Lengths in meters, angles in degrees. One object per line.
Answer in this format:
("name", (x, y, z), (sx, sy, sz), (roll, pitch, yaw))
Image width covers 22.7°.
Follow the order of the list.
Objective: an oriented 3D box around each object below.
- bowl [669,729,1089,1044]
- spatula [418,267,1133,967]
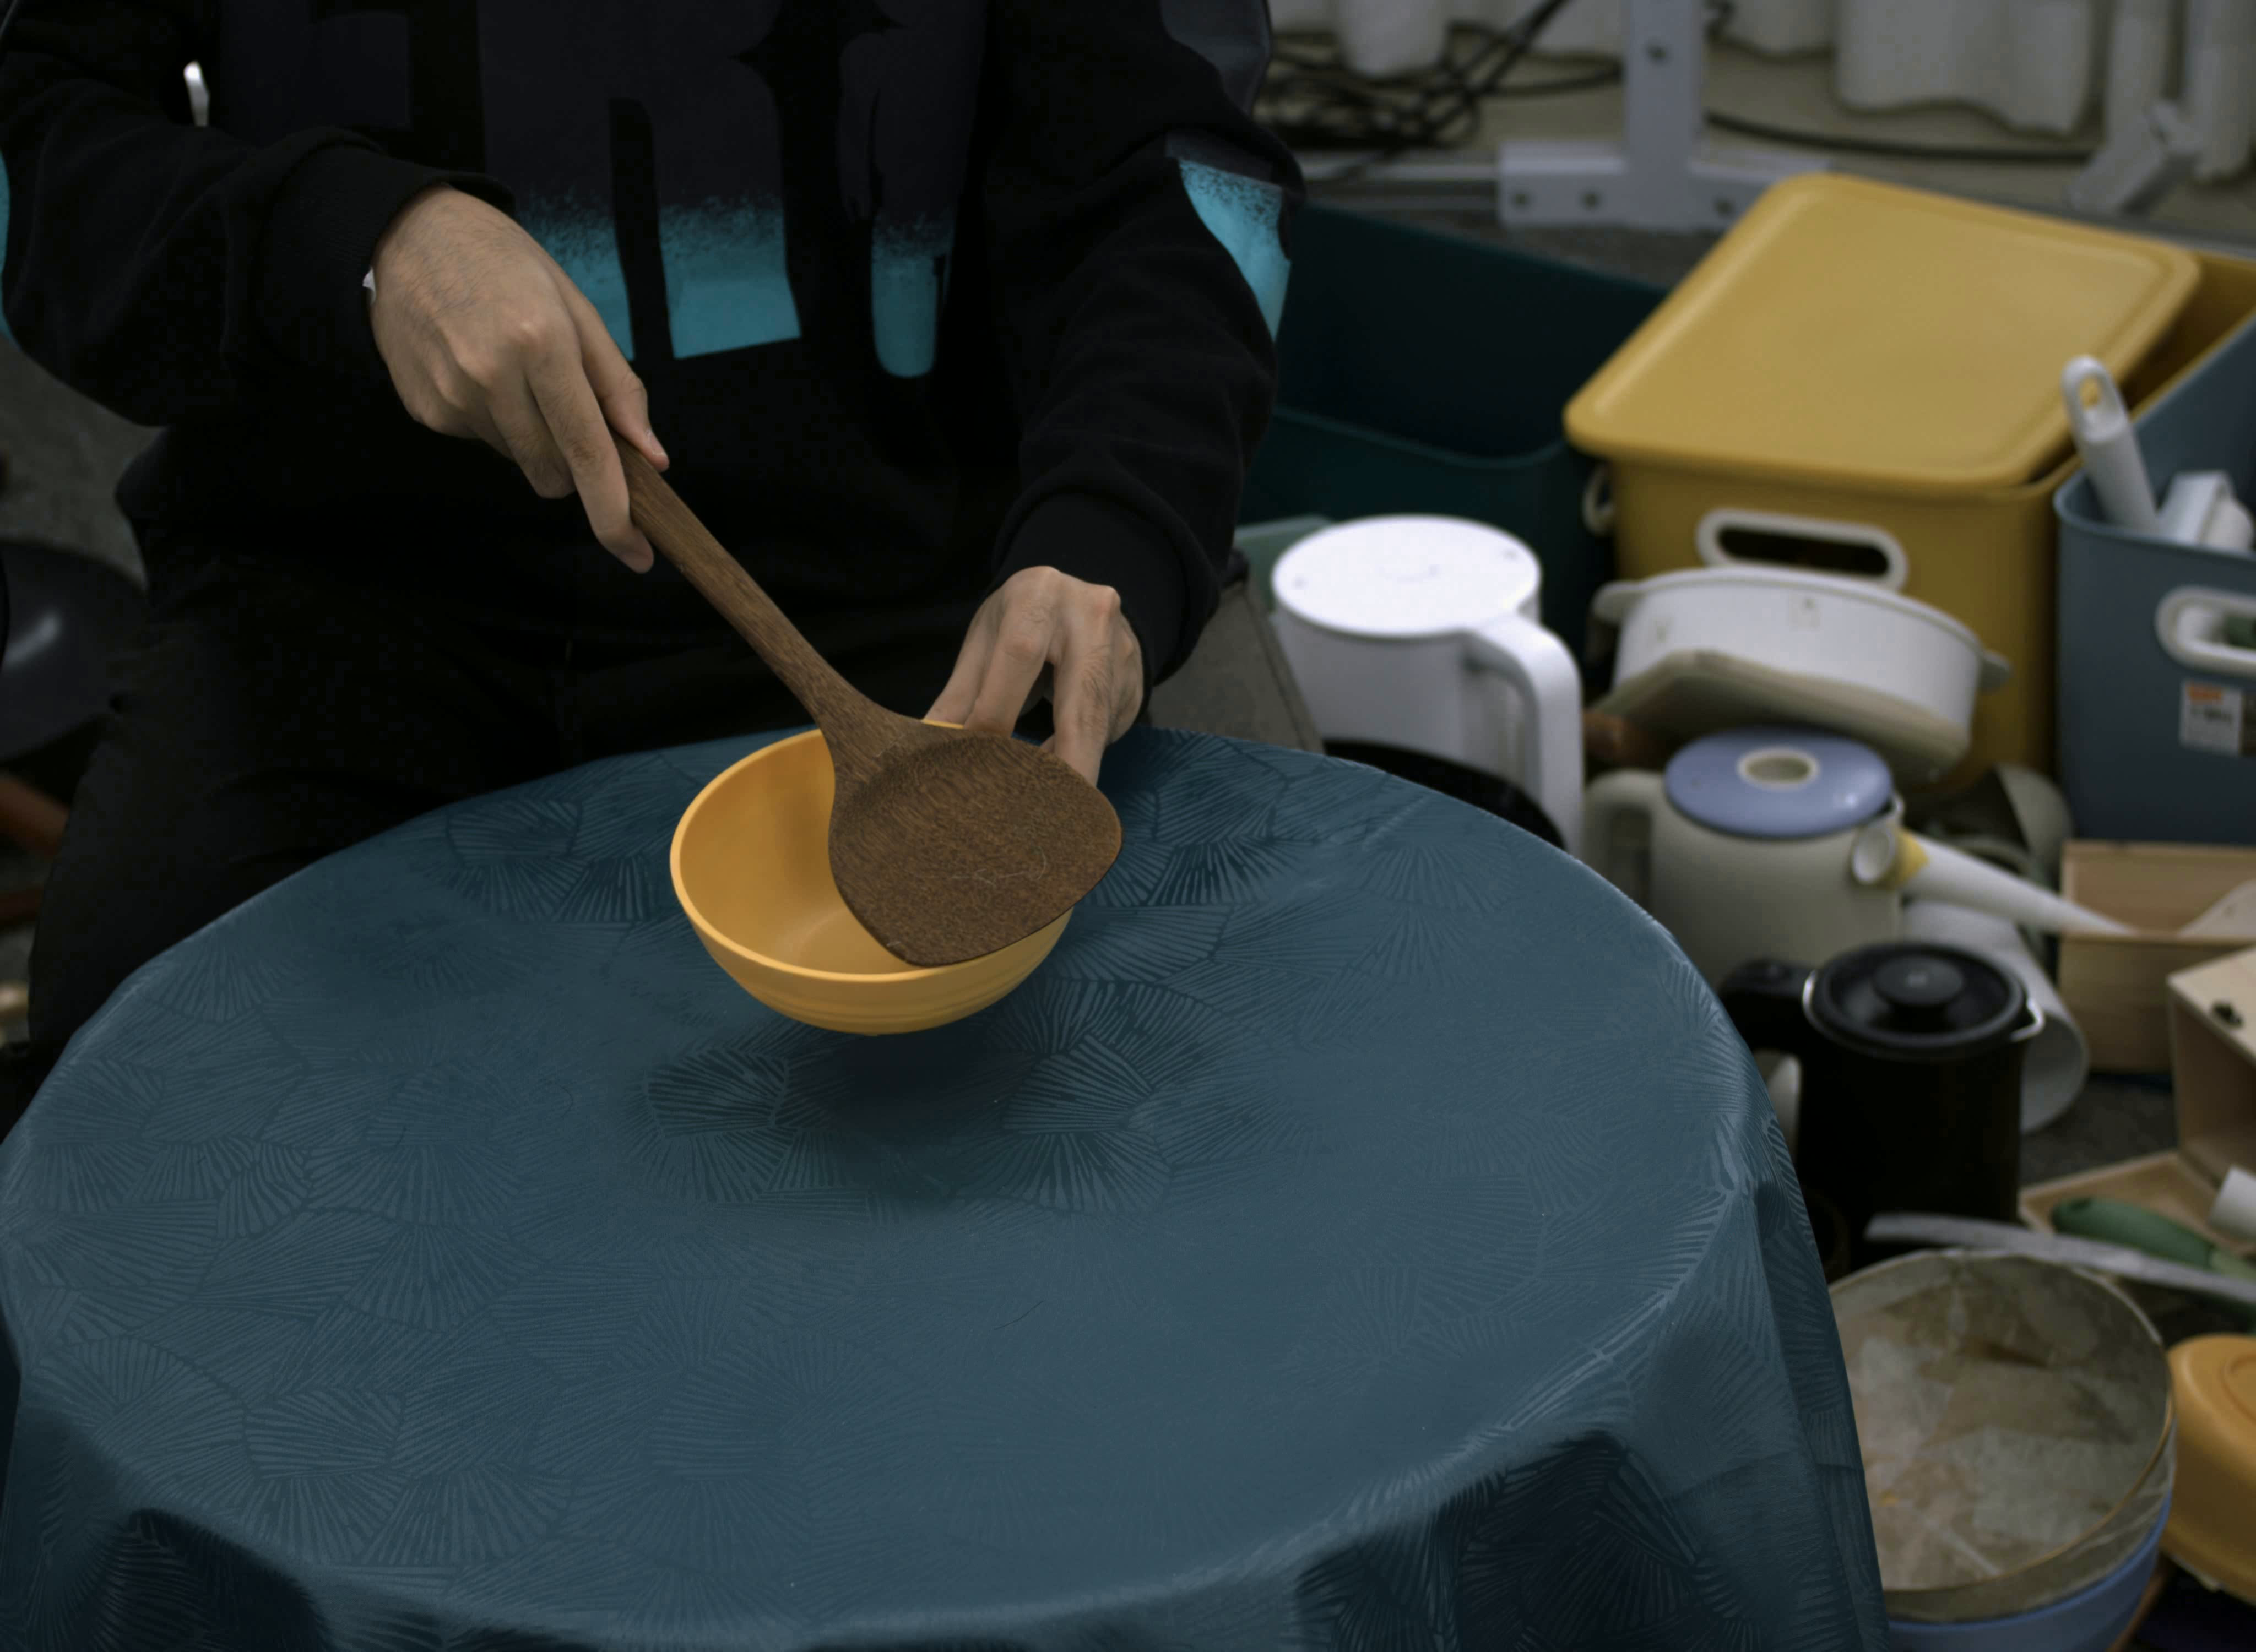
("bowl", (-0.085, 0.032, 1.930), (0.144, 0.059, 0.148), (1, 35, 0))
("spatula", (-0.141, -0.085, 1.972), (0.097, 0.015, 0.388), (-32, 57, -19))
